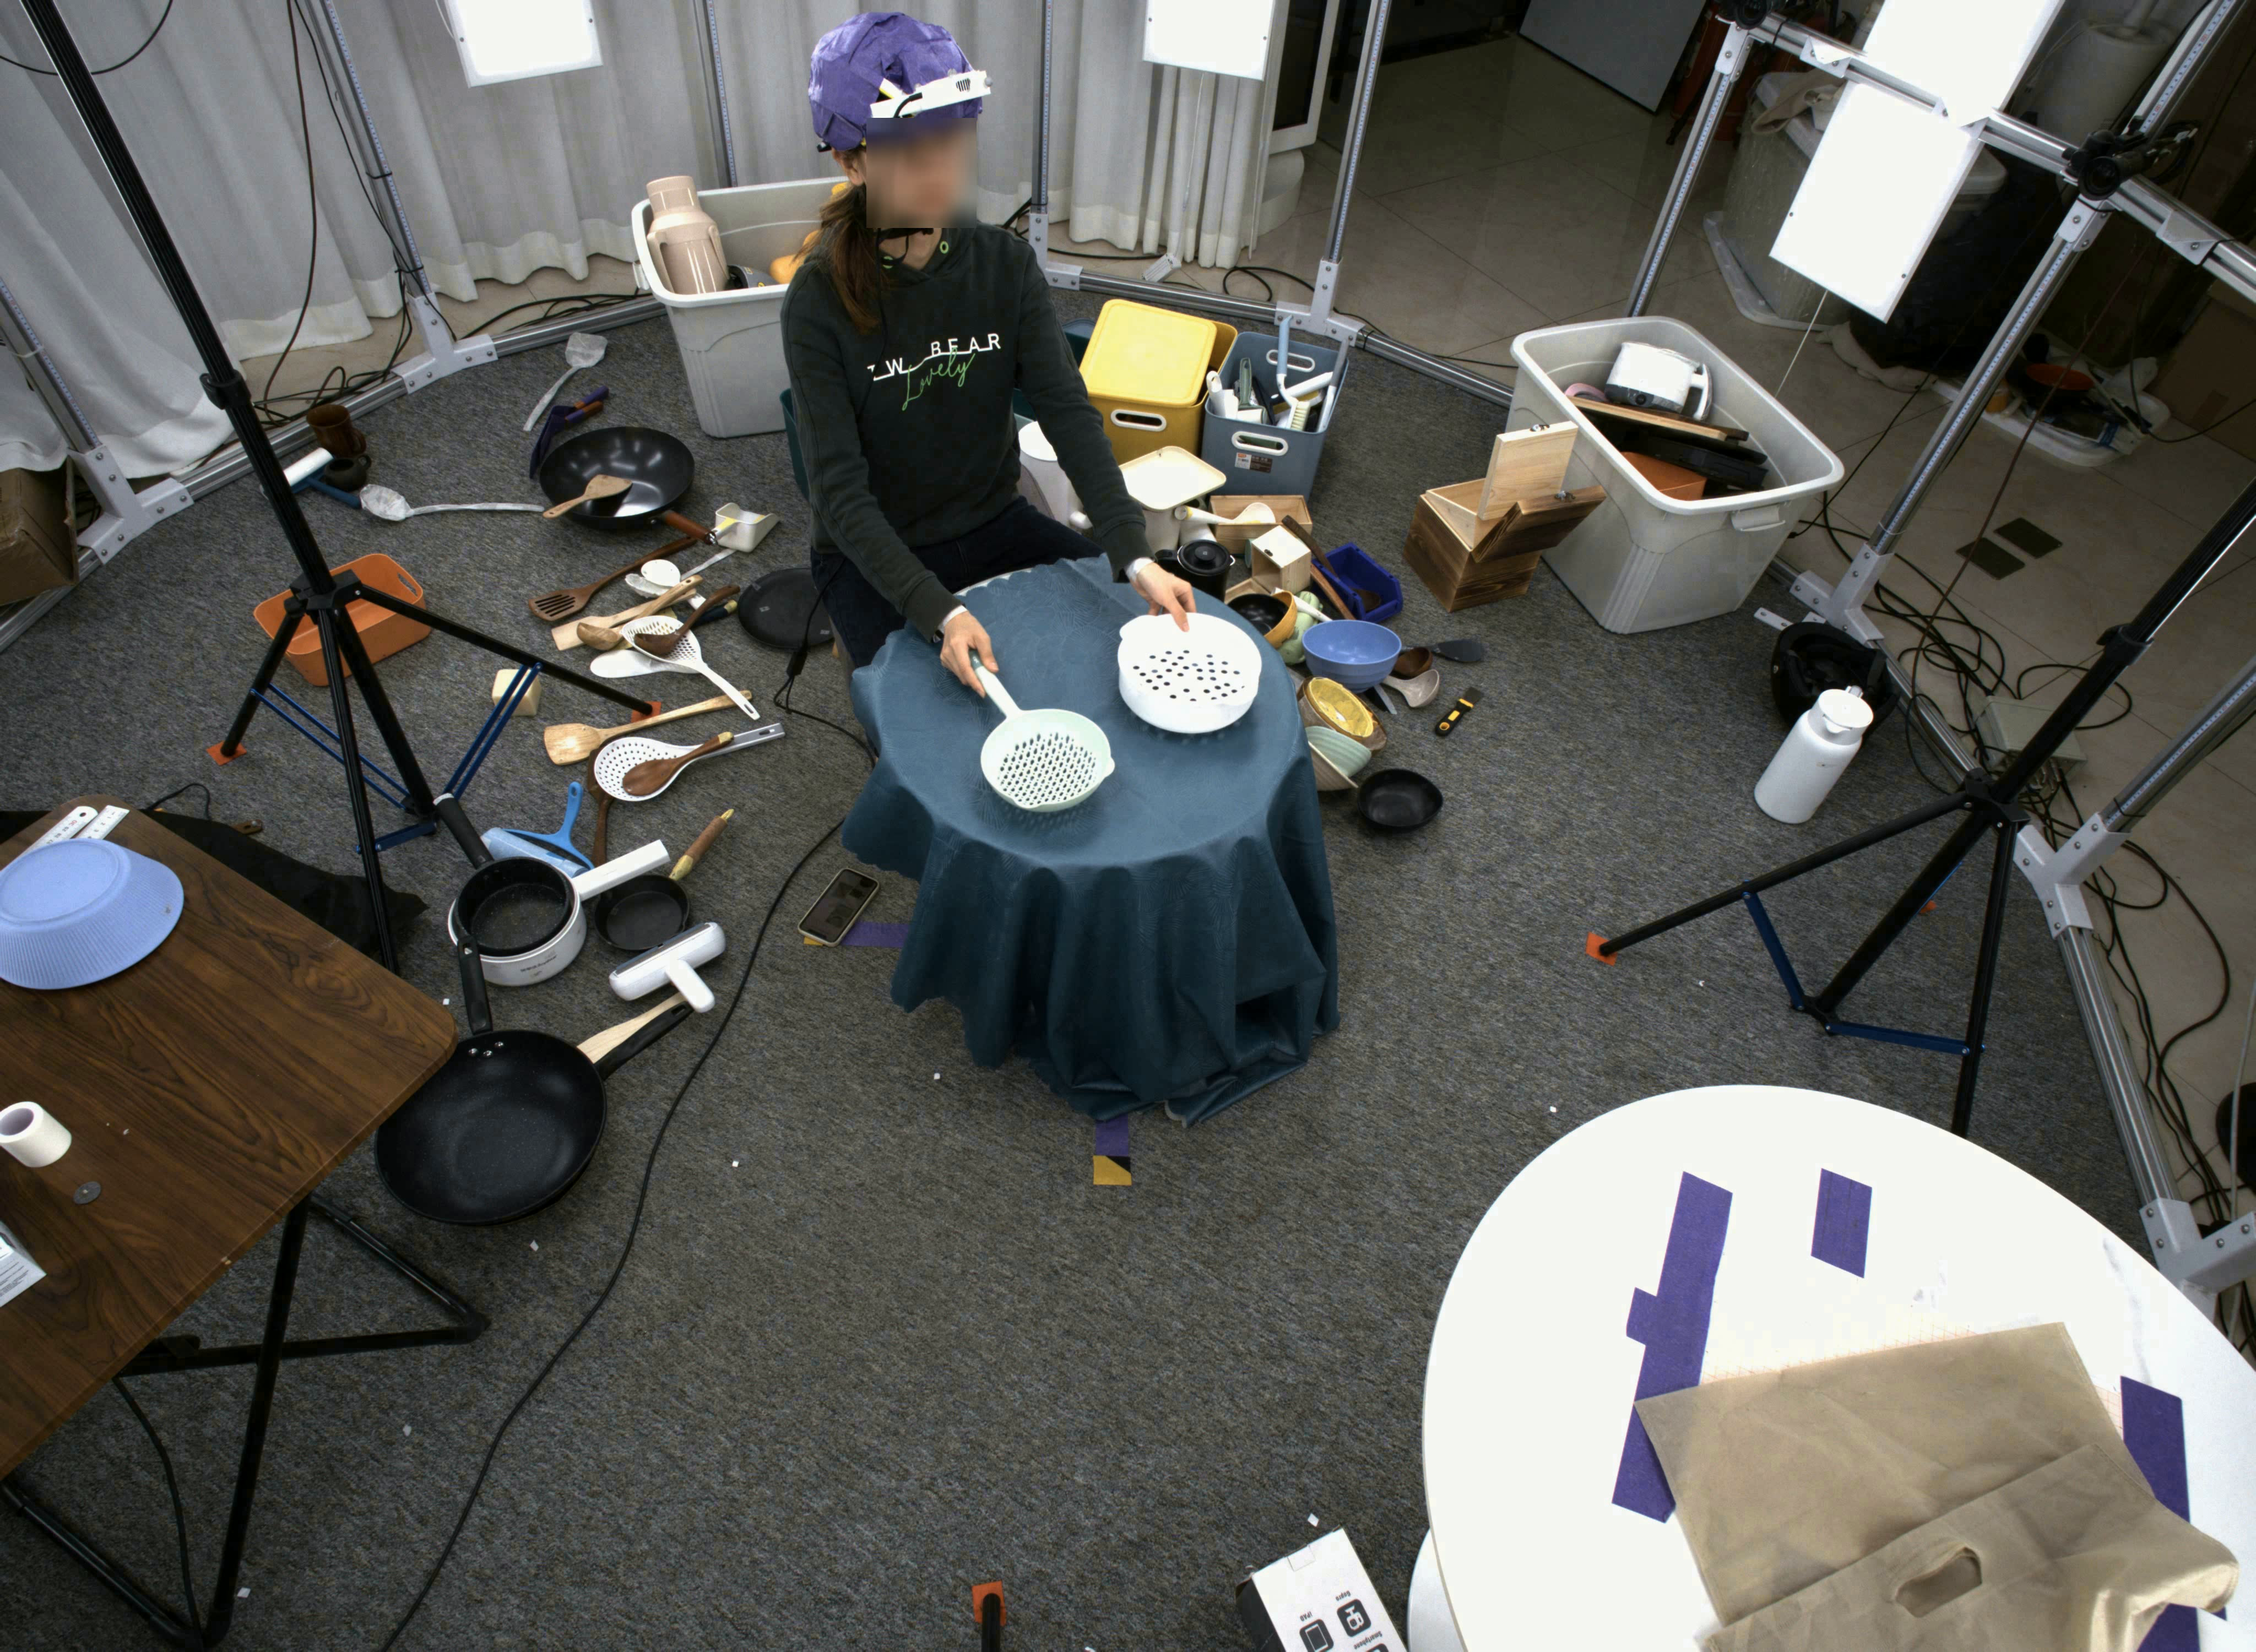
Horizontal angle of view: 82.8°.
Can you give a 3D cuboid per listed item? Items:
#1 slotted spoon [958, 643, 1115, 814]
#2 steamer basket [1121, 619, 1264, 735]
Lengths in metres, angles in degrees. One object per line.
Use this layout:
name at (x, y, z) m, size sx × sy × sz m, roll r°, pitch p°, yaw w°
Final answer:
slotted spoon at (-0.154, -0.148, 1.750) m, size 0.170 × 0.073 × 0.366 m, roll -23°, pitch 59°, yaw -17°
steamer basket at (0.088, -0.211, 1.827) m, size 0.234 × 0.067 × 0.204 m, roll 34°, pitch 52°, yaw 28°
